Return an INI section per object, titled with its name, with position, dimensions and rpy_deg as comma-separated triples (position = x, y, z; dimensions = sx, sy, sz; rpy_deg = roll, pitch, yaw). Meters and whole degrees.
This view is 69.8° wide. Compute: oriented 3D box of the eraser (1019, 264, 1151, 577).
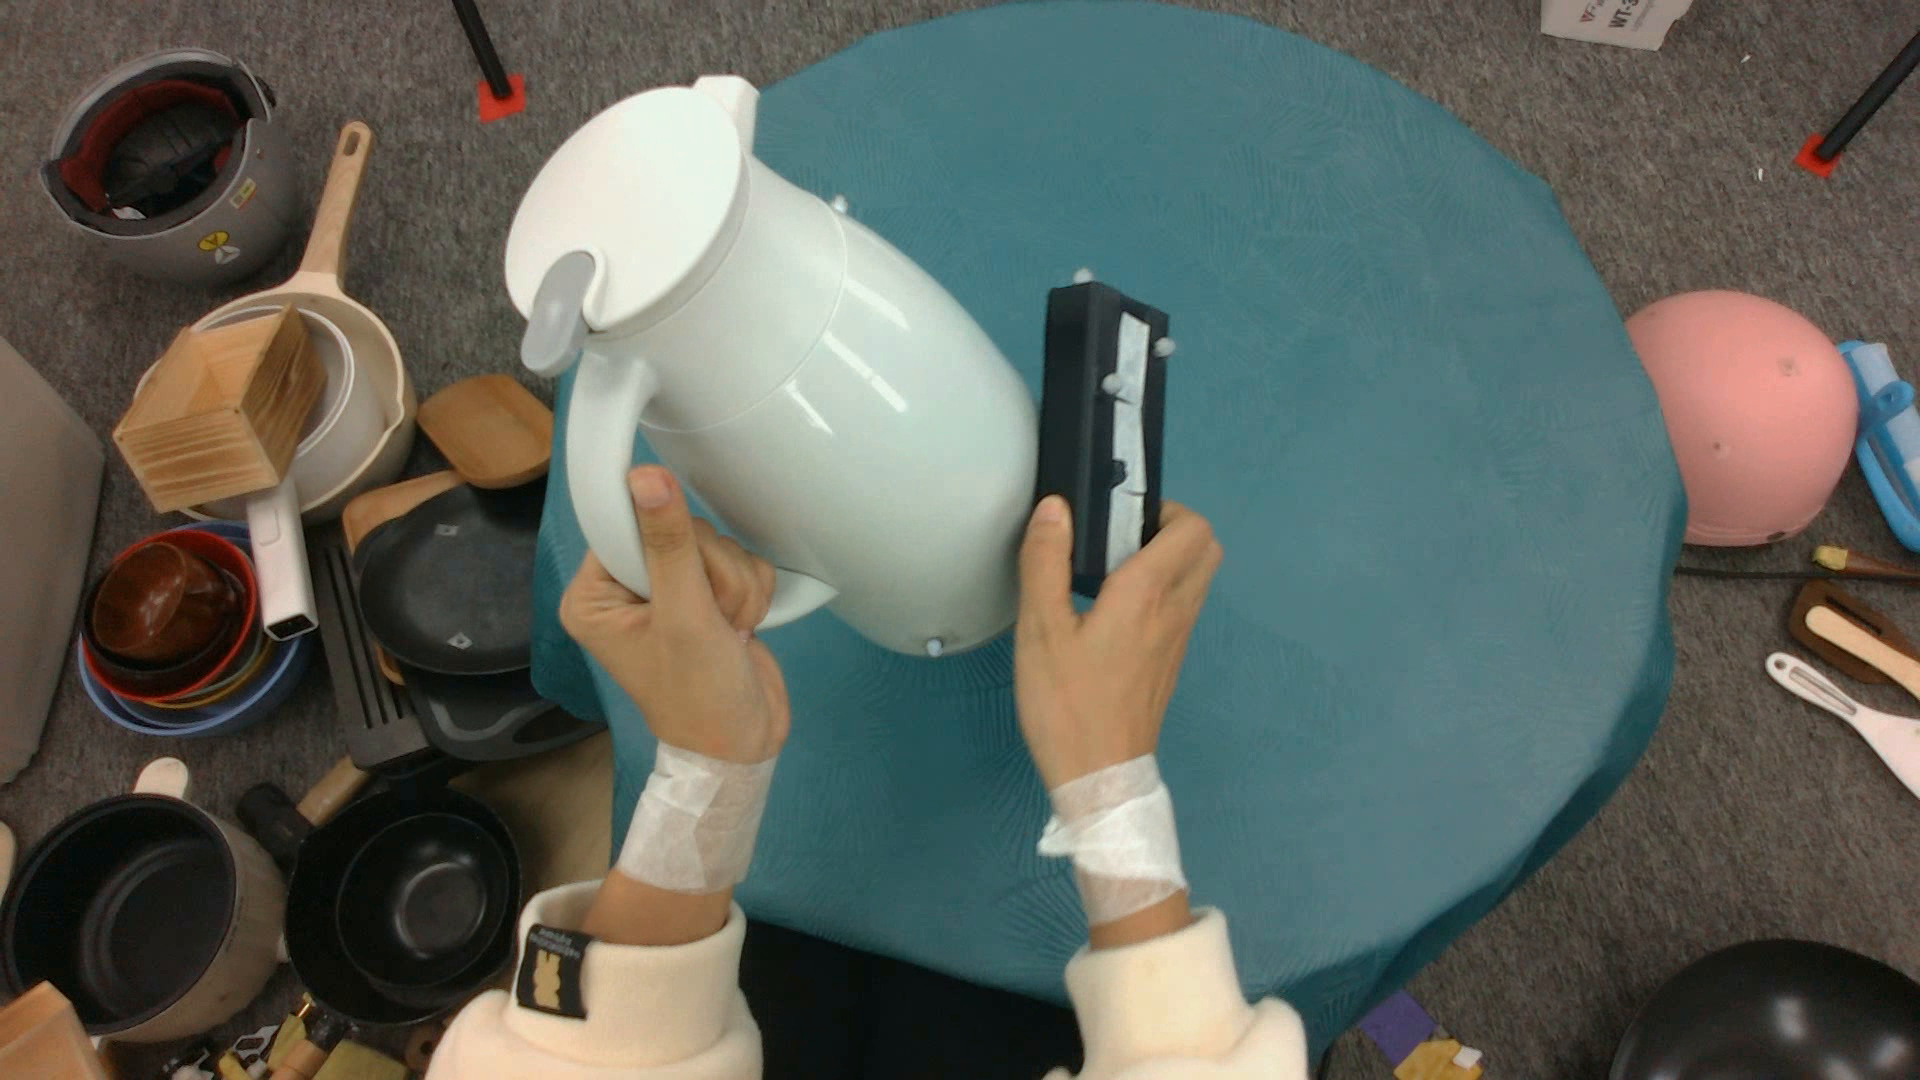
[eraser]
position = 0.052, -0.048, 0.571
dimensions = 0.053, 0.030, 0.126
rpy_deg = 11, 76, -39

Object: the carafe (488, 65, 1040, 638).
[carafe]
position = -0.069, -0.047, 0.525
dimensions = 0.132, 0.248, 0.168
rpy_deg = 9, 72, 31
